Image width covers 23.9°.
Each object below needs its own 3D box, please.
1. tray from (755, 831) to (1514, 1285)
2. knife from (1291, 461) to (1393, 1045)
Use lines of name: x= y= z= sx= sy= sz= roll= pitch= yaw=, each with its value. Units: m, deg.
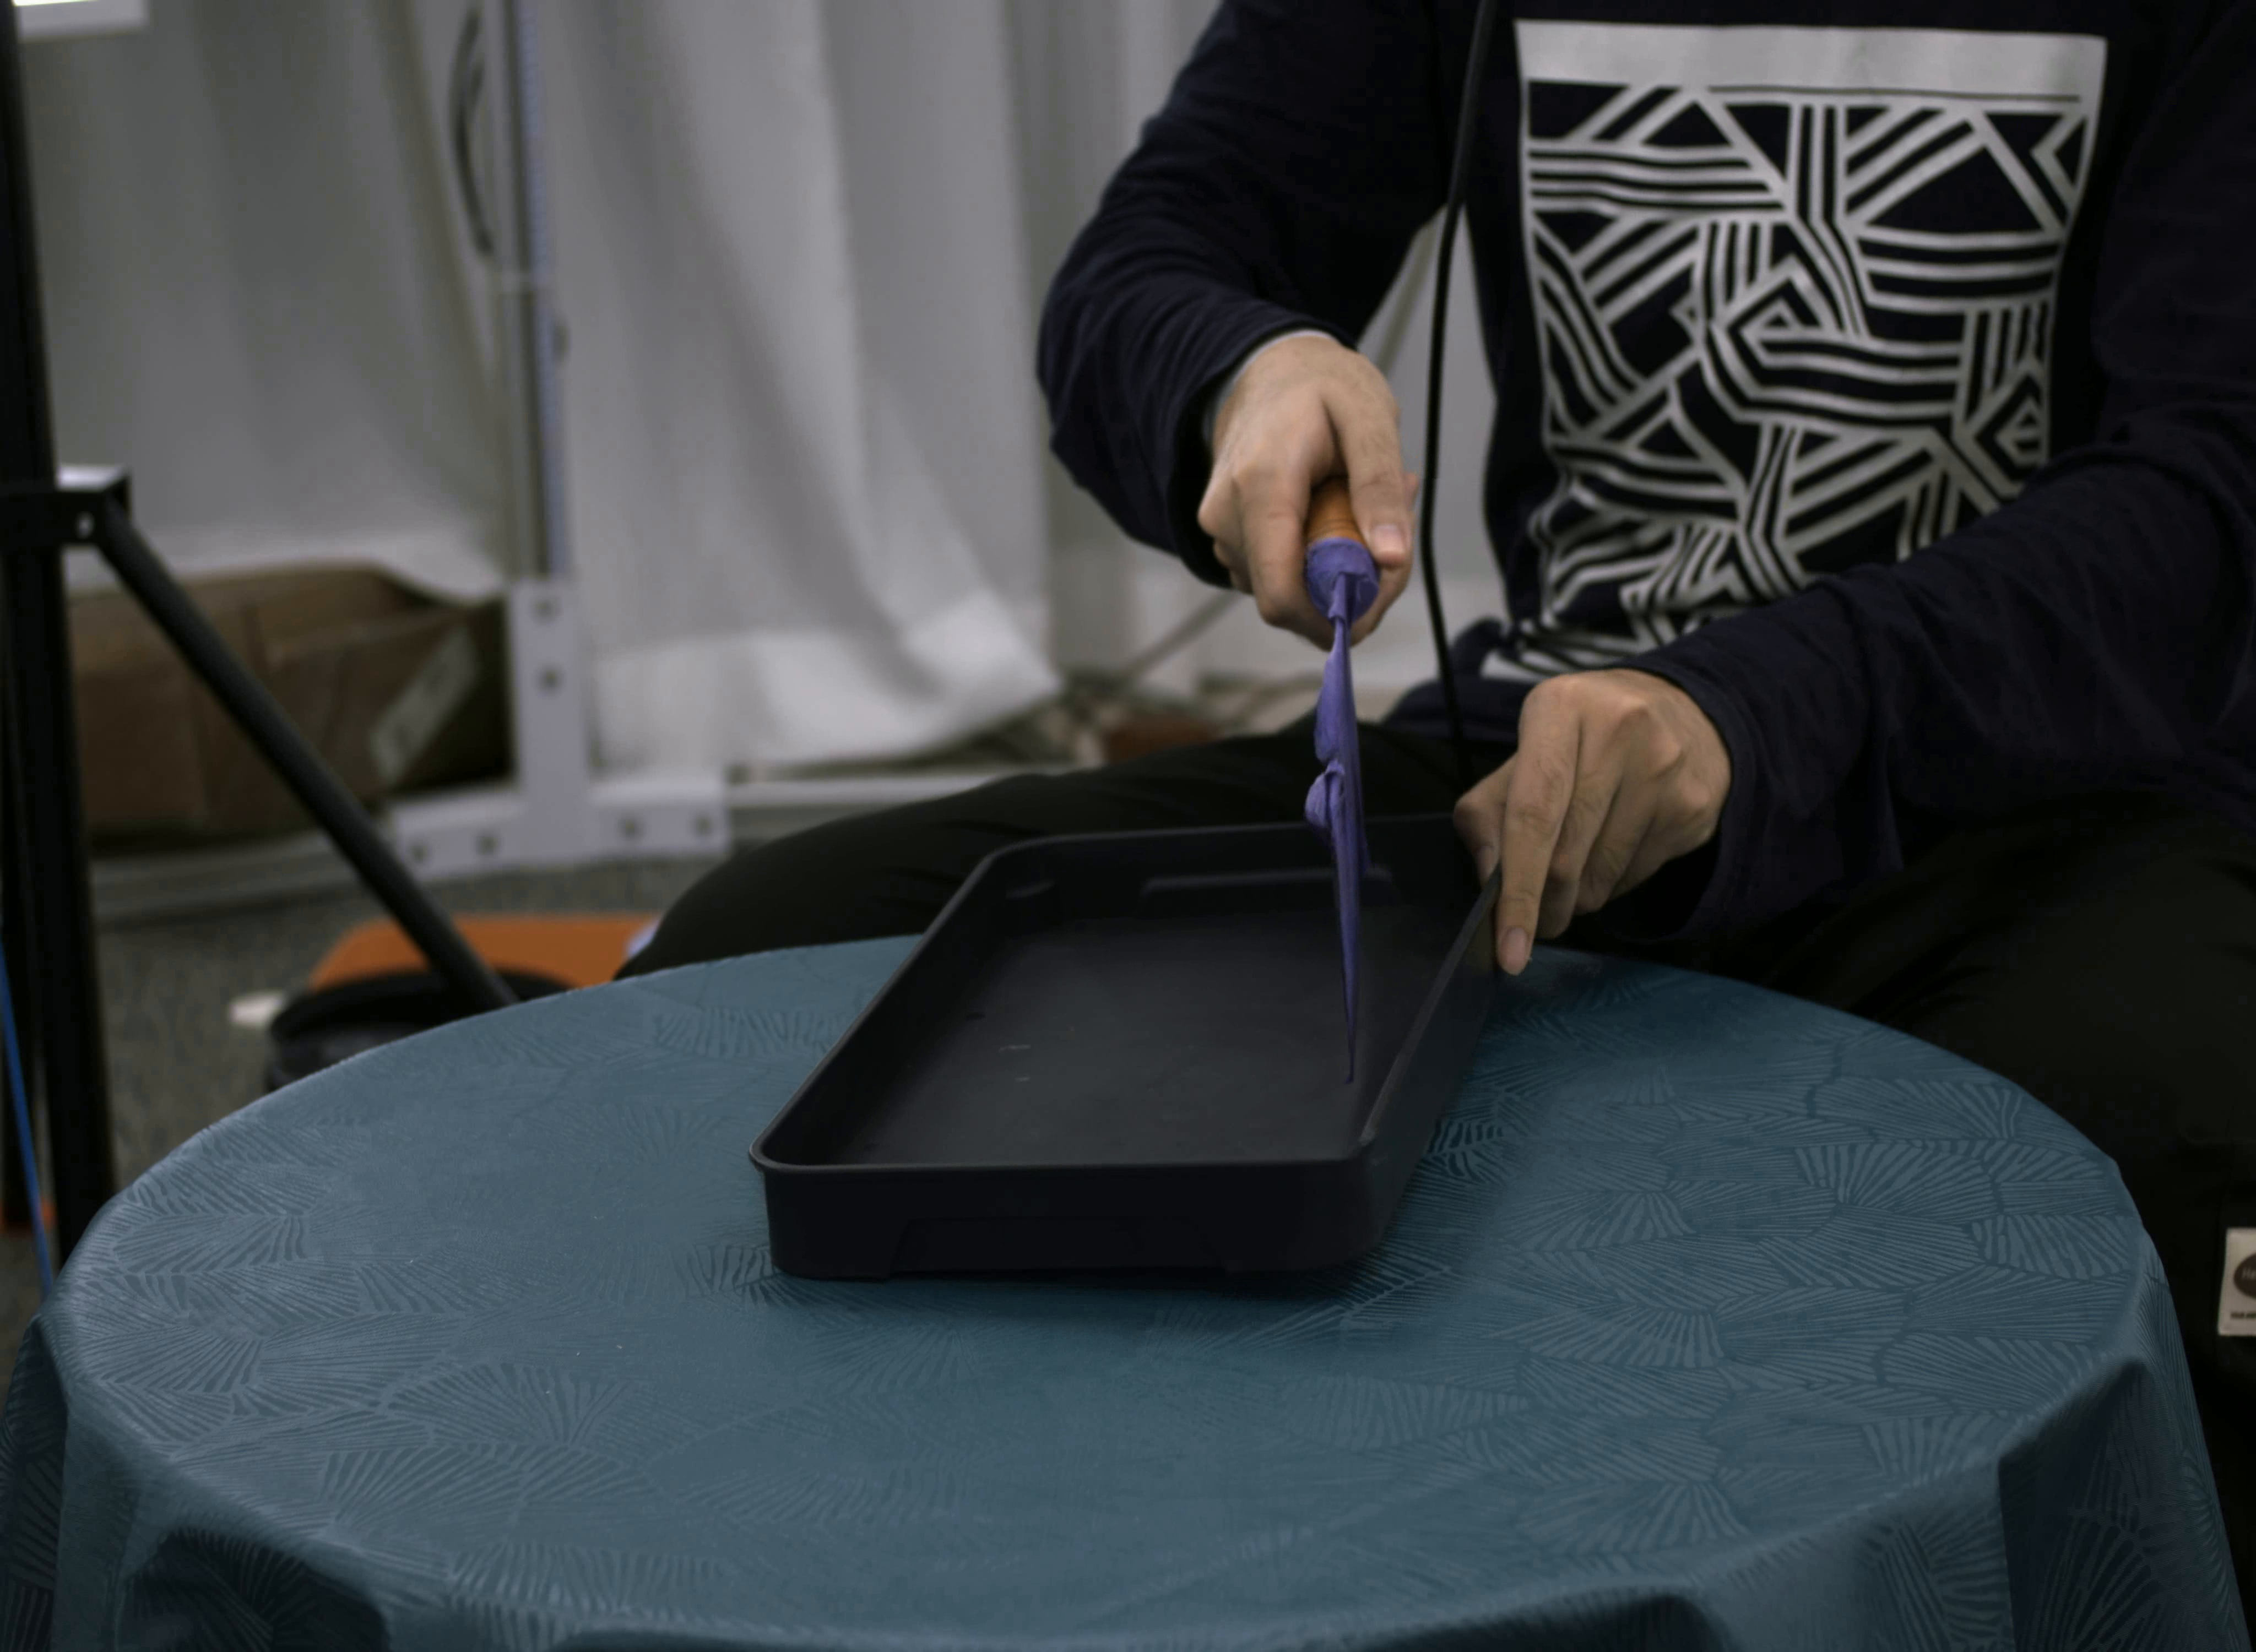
tray: x=0.011 y=0.066 z=1.617 sx=0.185 sy=0.037 sz=0.316 roll=-3 pitch=15 yaw=13
knife: x=0.065 y=-0.026 z=1.695 sx=0.032 sy=0.103 sz=0.316 roll=-2 pitch=22 yaw=6
